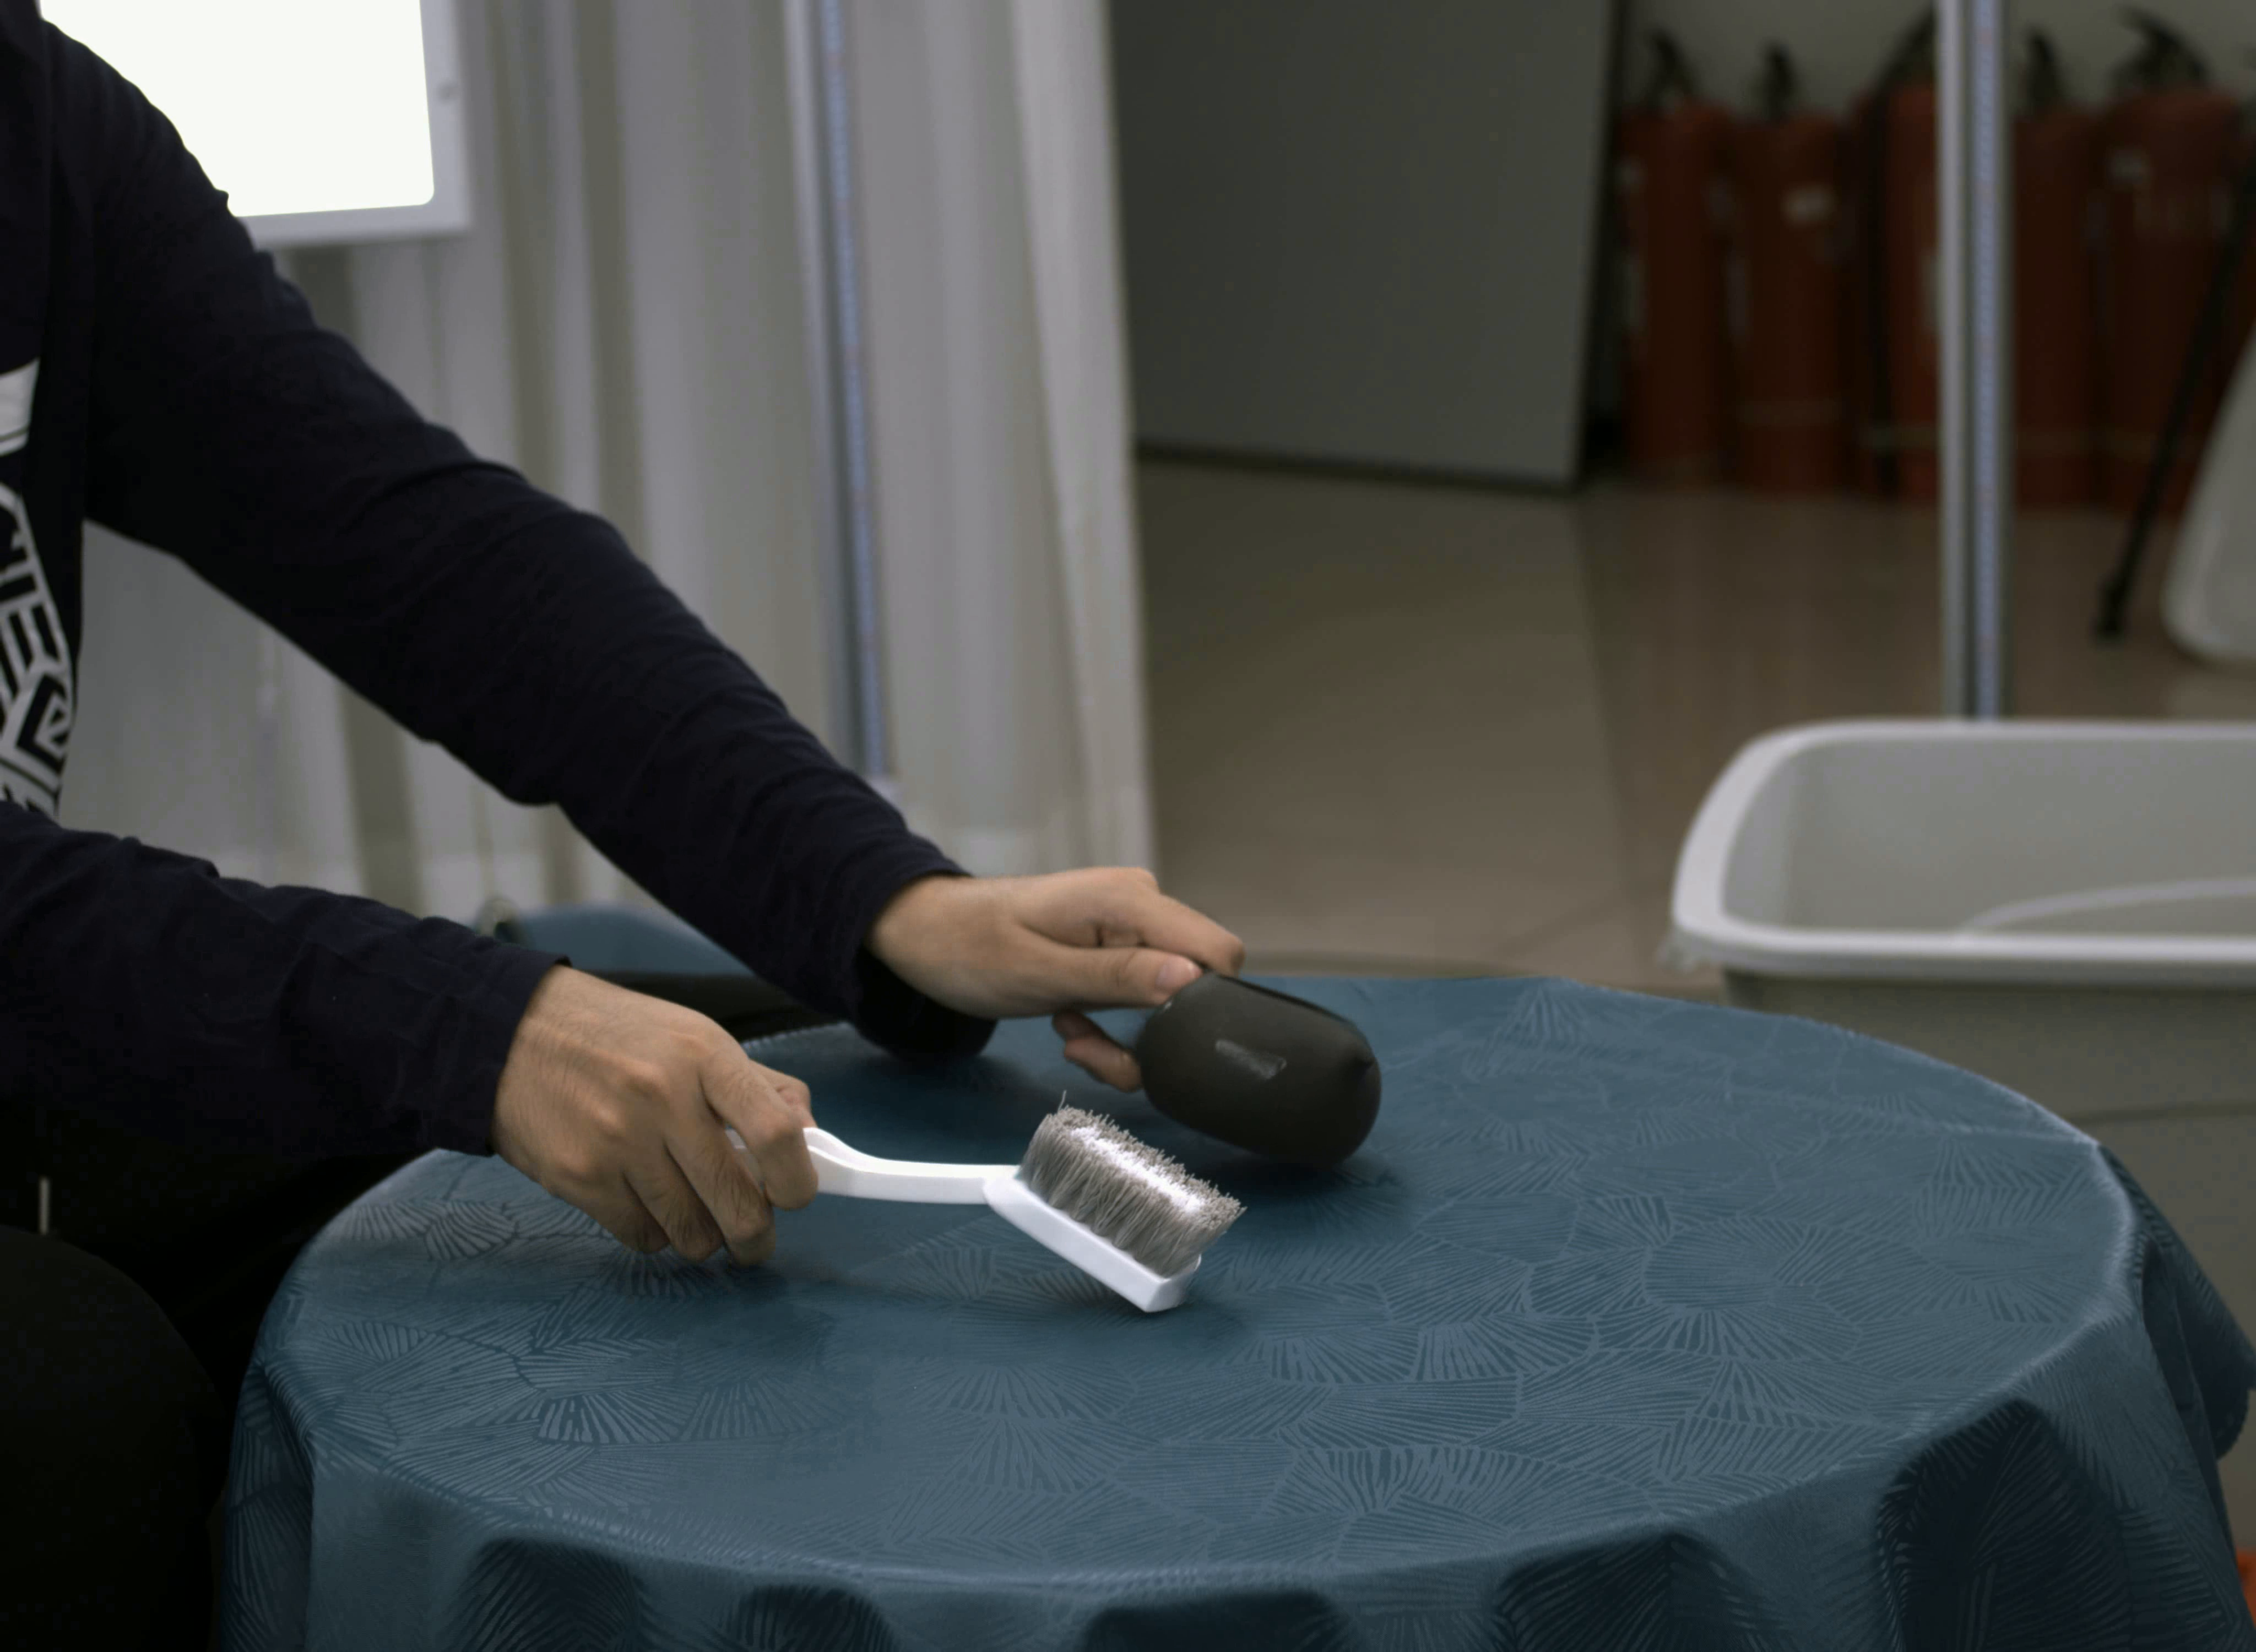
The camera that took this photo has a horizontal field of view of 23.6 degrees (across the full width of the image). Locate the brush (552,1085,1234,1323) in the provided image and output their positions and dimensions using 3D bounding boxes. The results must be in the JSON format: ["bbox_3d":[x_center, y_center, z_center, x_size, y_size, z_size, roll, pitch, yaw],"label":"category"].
[{"bbox_3d":[-0.078,0.100,1.699,0.244,0.051,0.034,16,22,27],"label":"brush"}]

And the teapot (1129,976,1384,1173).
[{"bbox_3d":[0.038,0.079,1.784,0.081,0.053,0.115,15,4,-38],"label":"teapot"}]
